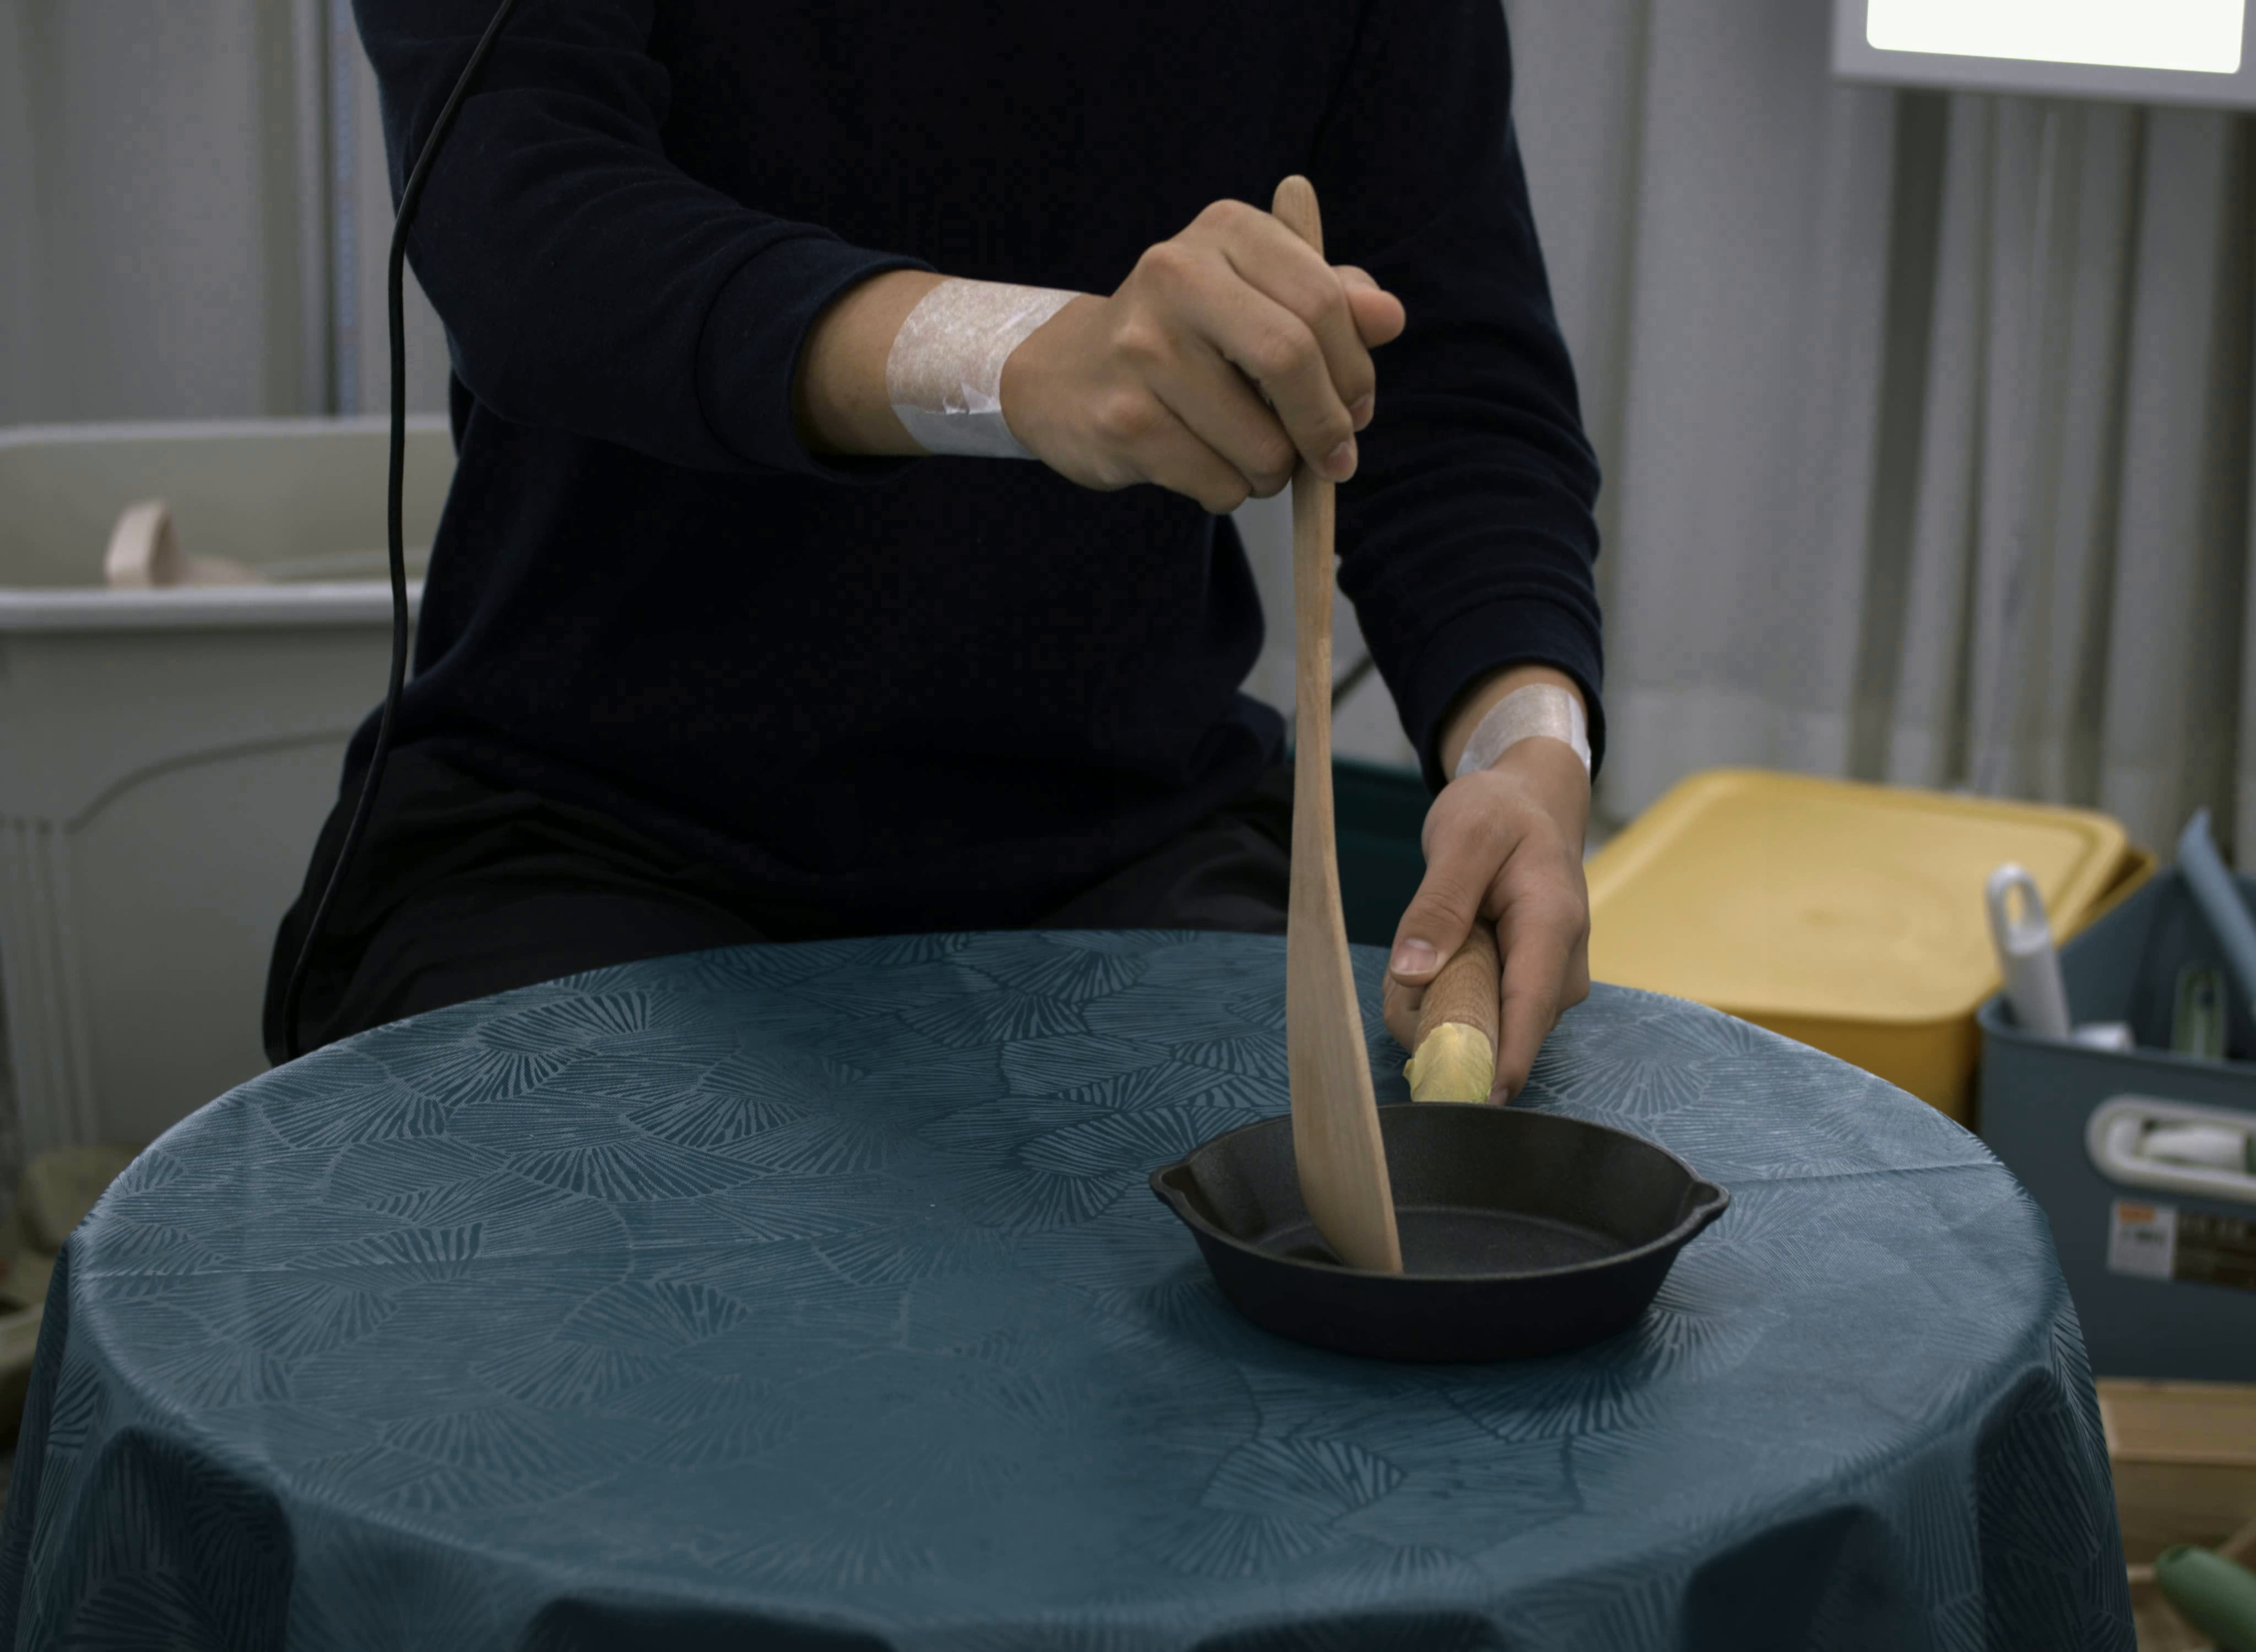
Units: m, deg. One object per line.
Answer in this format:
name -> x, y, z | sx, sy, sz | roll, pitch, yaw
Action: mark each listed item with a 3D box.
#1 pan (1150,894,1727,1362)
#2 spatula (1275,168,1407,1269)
pan -> 0.101, 0.089, 1.615 | 0.168, 0.050, 0.323 | 2, 17, 7
spatula -> 0.057, -0.024, 1.515 | 0.016, 0.329, 0.079 | -5, 8, -18
